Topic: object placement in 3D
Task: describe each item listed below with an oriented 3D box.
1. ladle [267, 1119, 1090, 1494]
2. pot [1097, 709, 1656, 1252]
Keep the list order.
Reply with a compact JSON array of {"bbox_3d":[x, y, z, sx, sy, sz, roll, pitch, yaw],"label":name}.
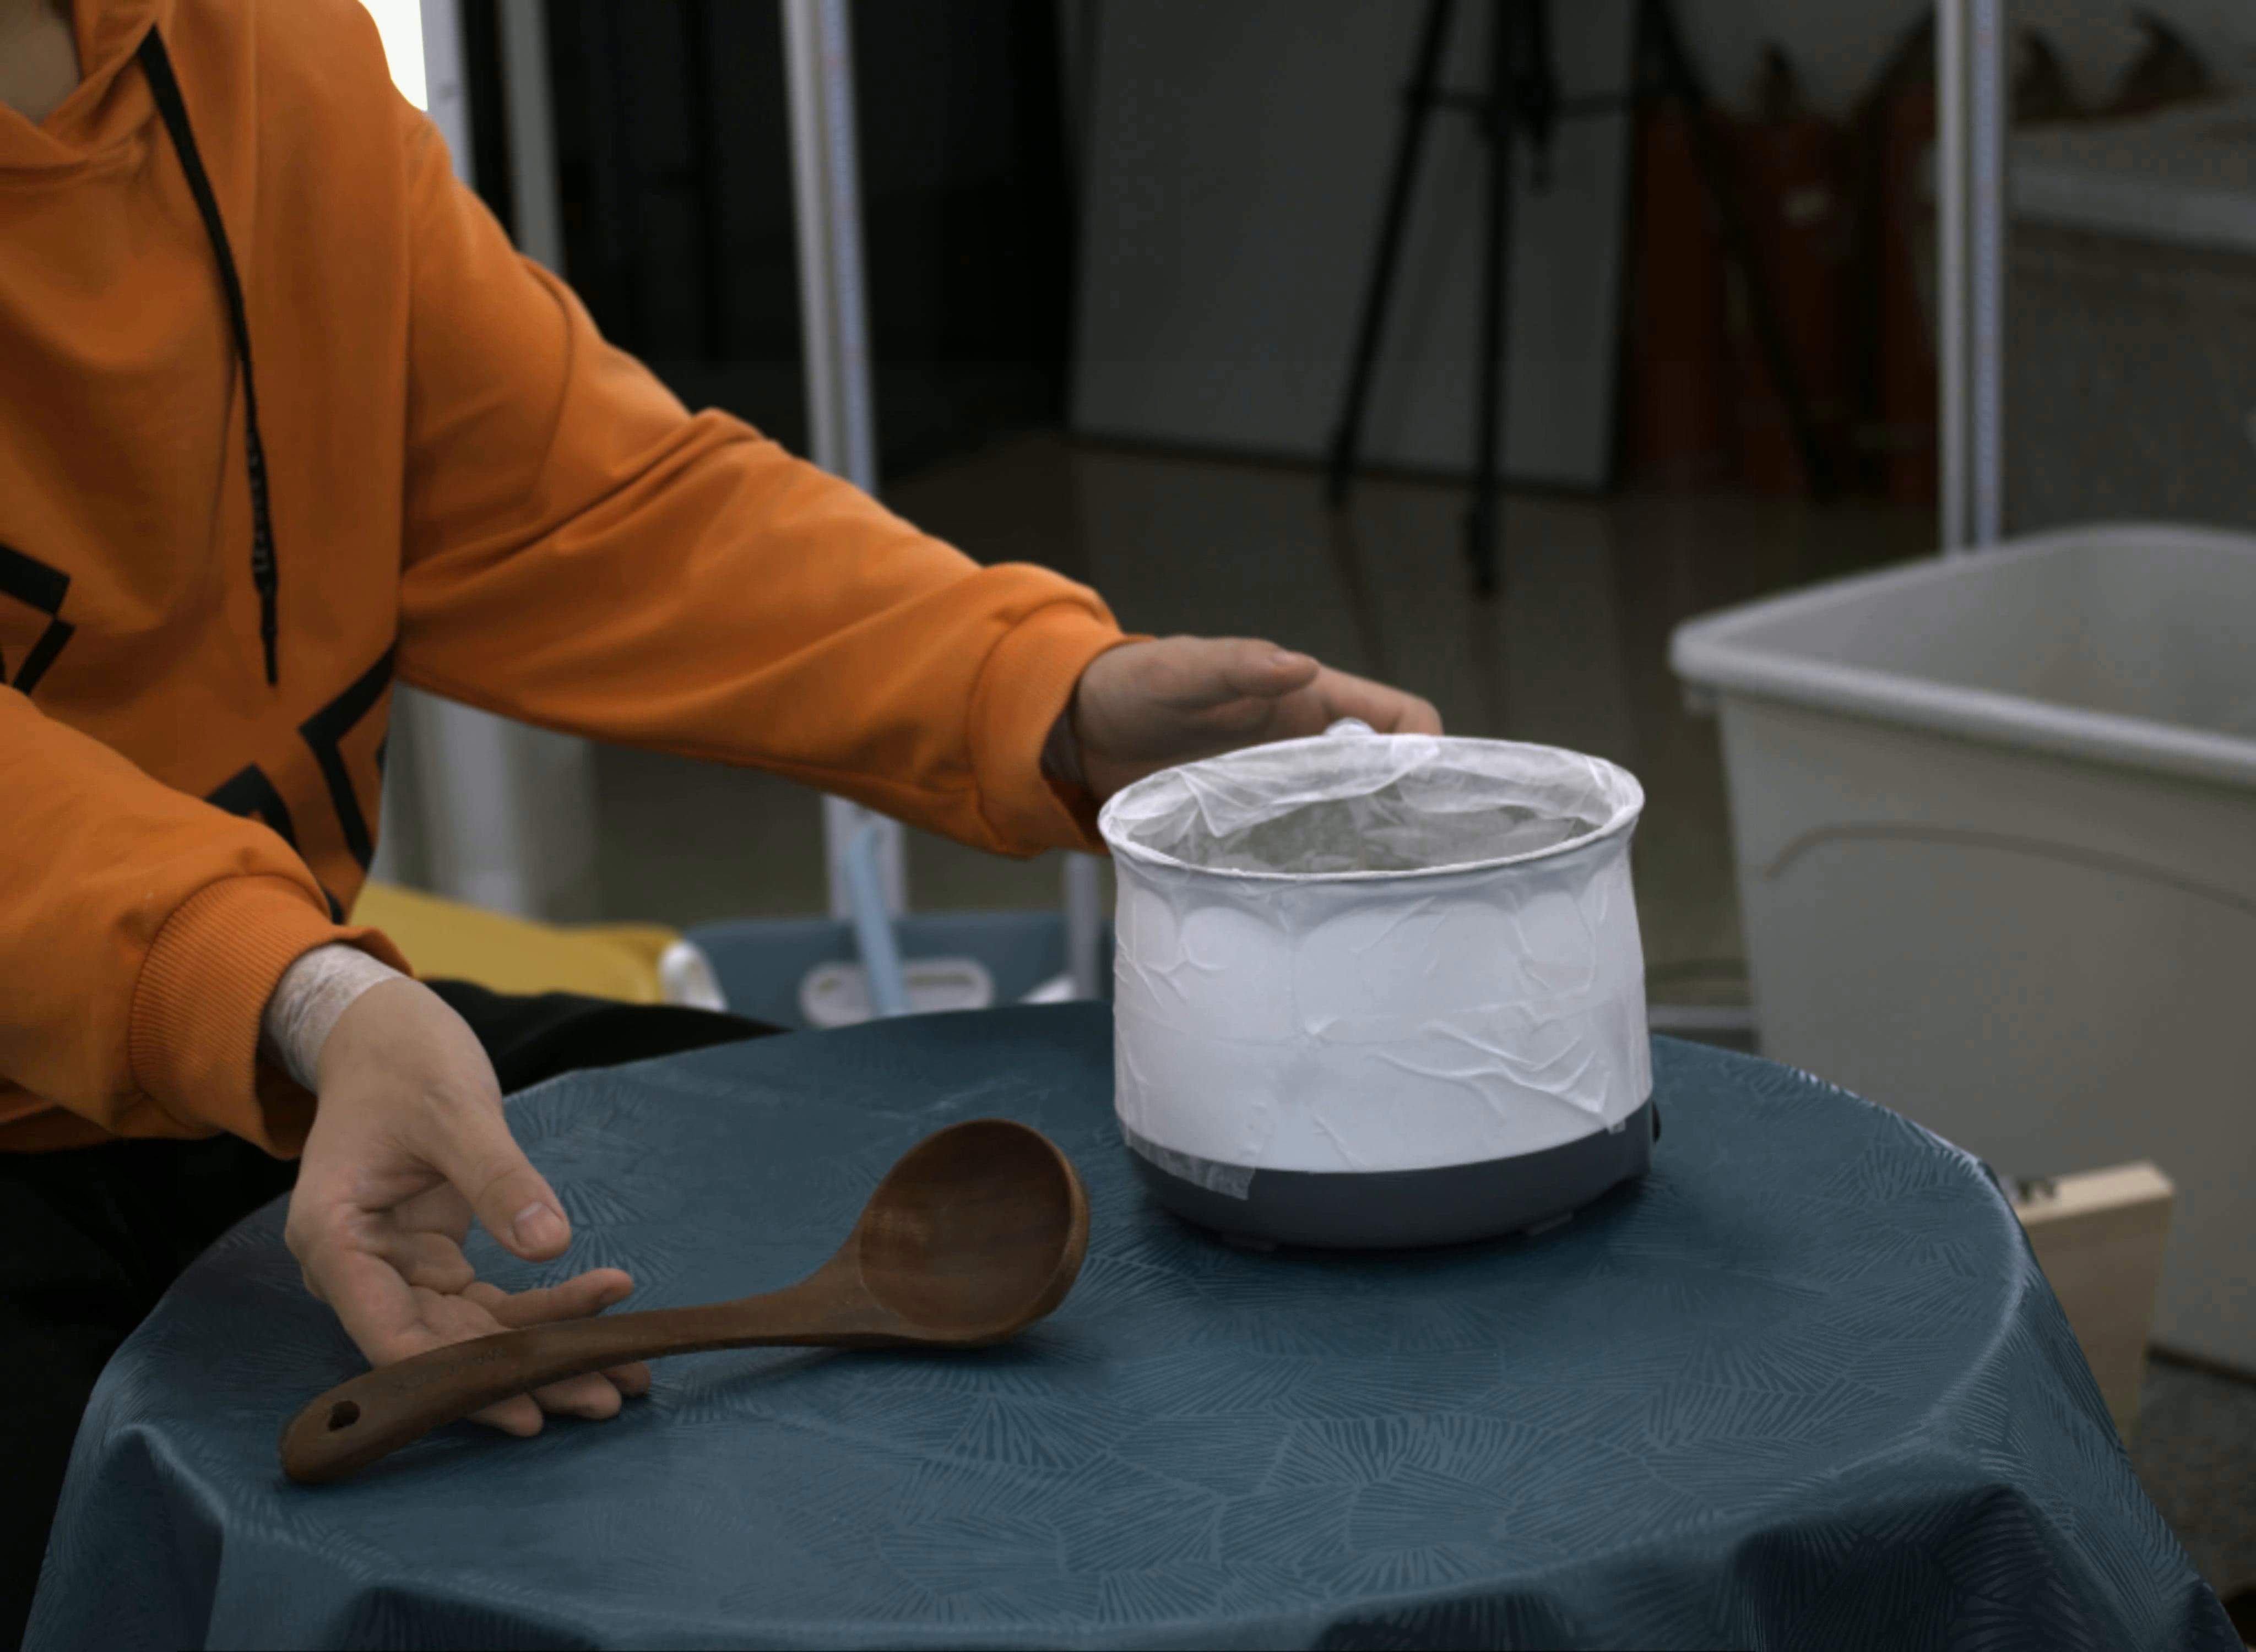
[{"bbox_3d":[-0.130,0.142,1.596,0.254,0.066,0.077,-10,41,-26],"label":"ladle"},{"bbox_3d":[0.079,0.045,1.762,0.176,0.138,0.234,-4,14,-2],"label":"pot"}]
